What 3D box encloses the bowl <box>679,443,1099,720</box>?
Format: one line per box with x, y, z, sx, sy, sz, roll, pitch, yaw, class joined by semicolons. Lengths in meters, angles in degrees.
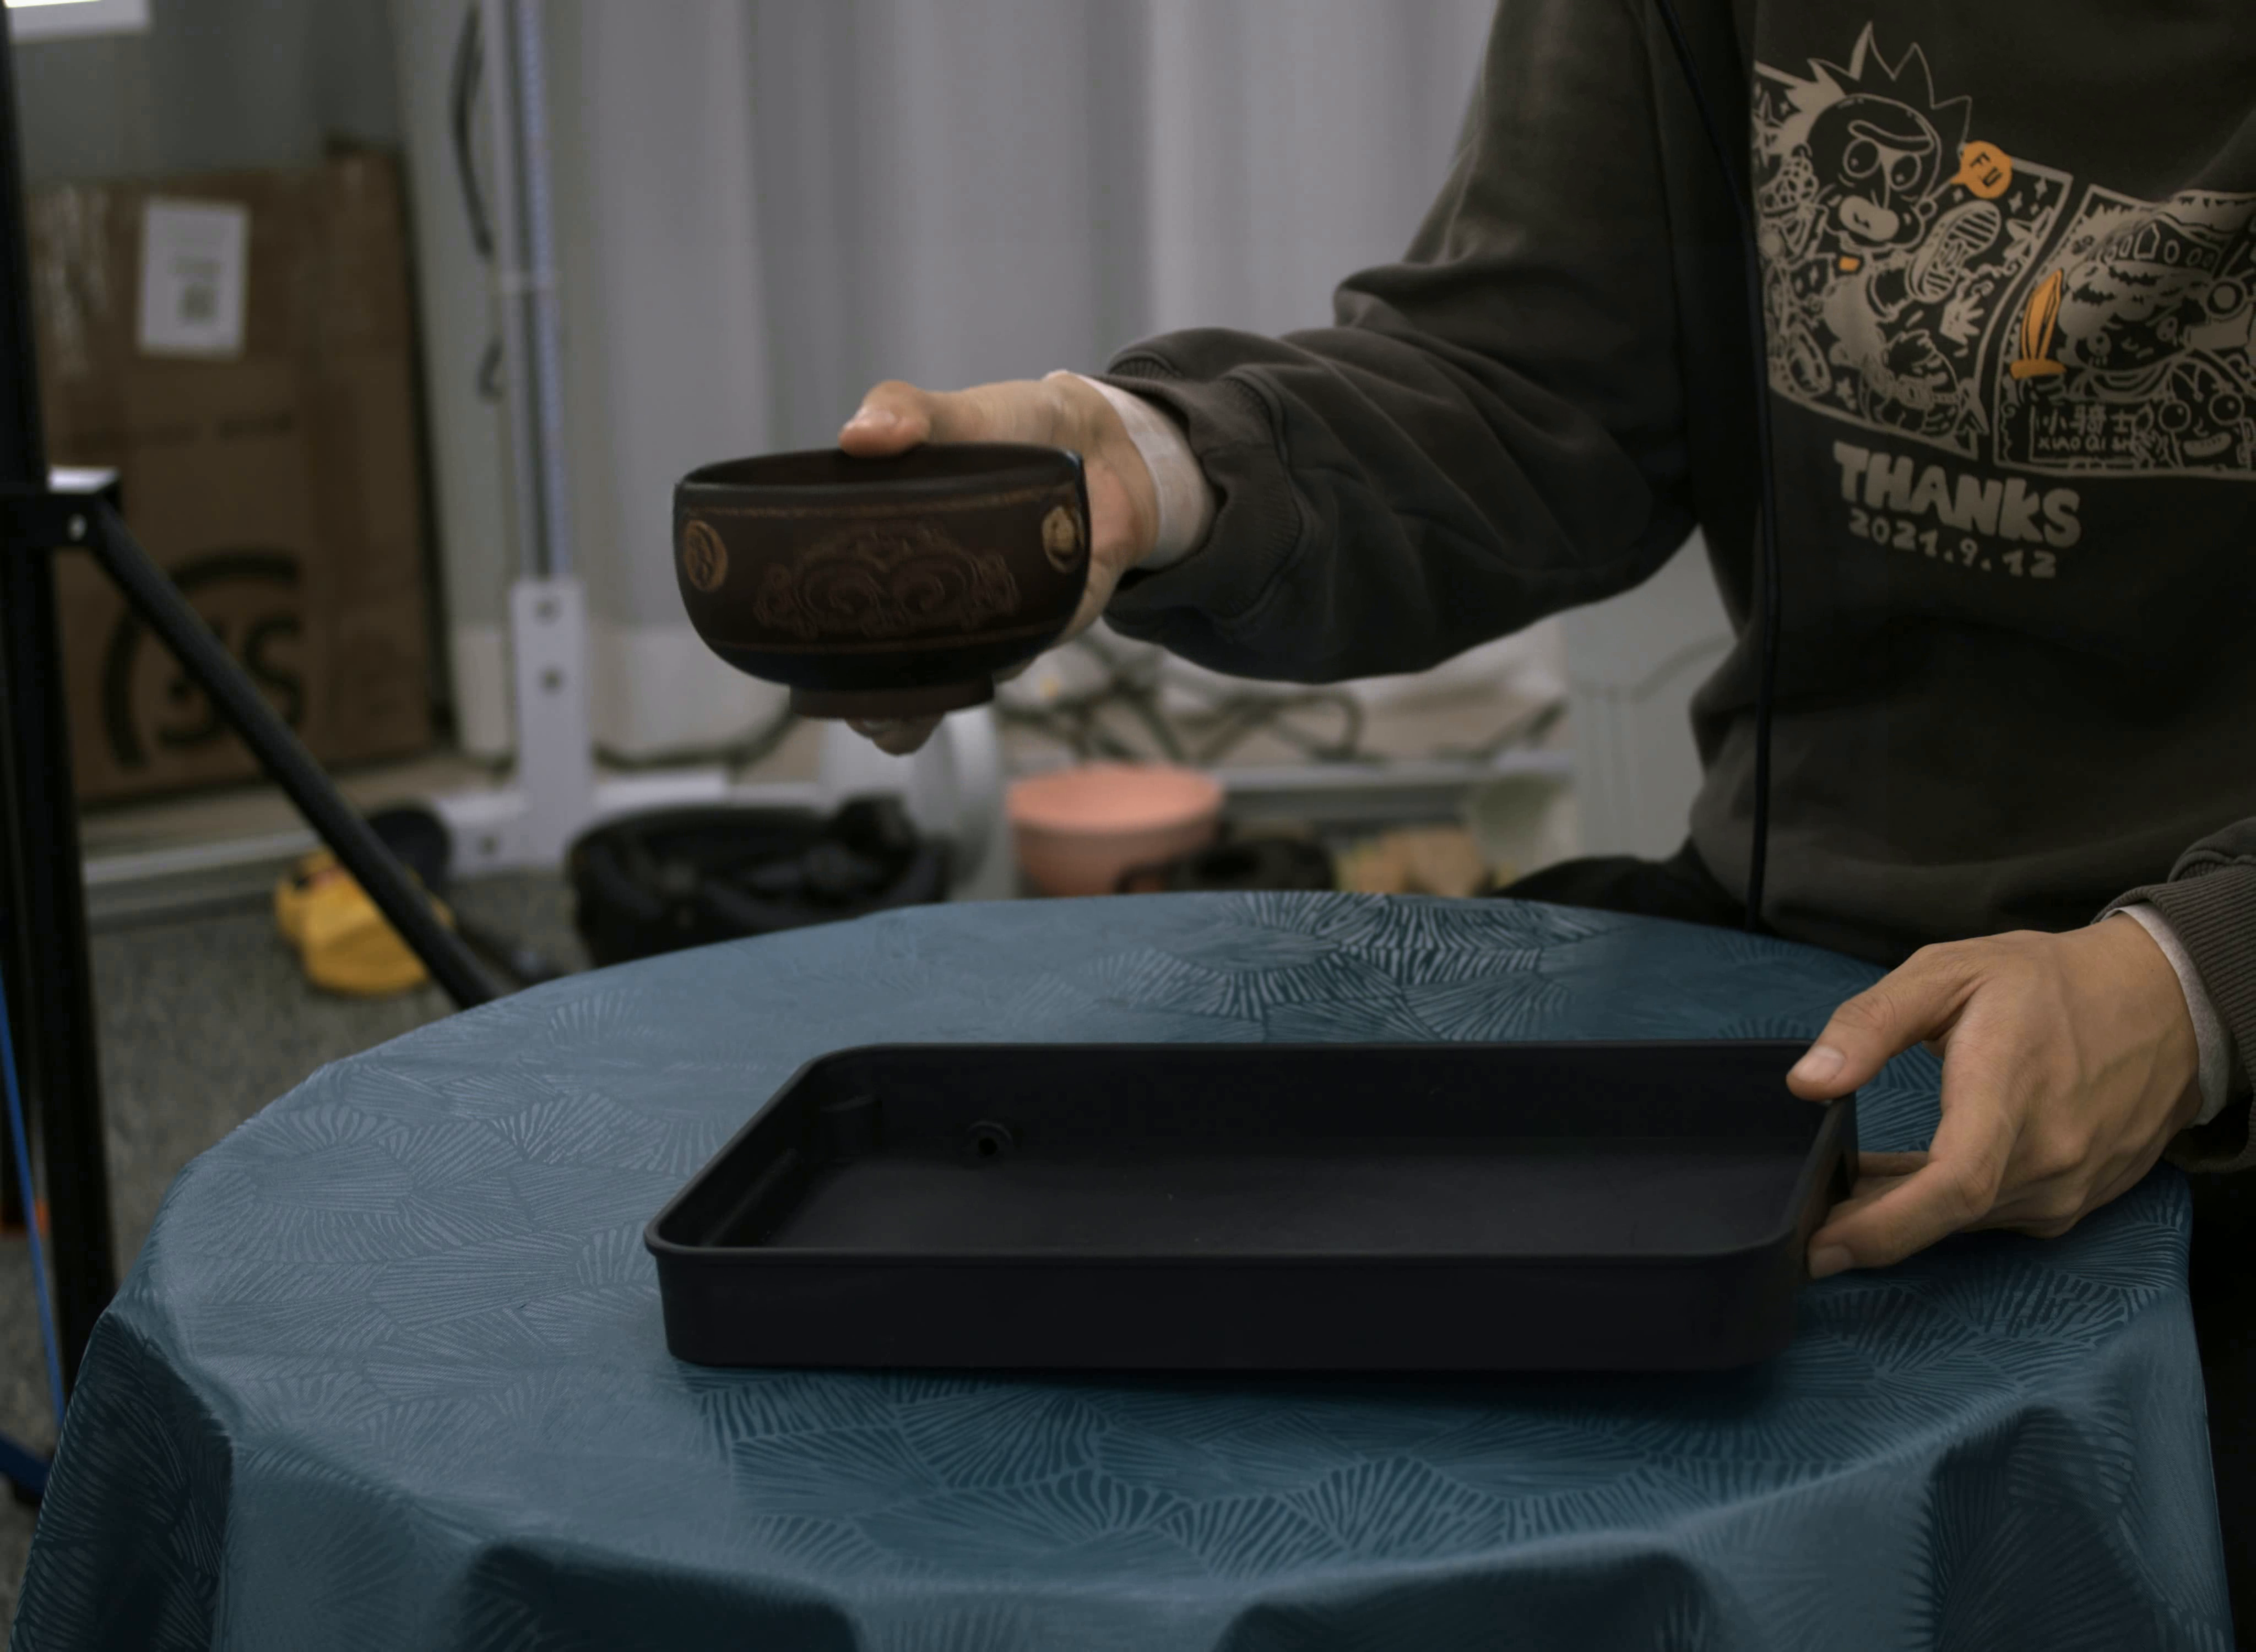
-0.066;-0.068;1.494;0.117;0.070;0.118;-2;9;-1;bowl

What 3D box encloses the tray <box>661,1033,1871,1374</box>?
0.043;0.104;1.477;0.320;0.037;0.183;-2;15;15;tray
